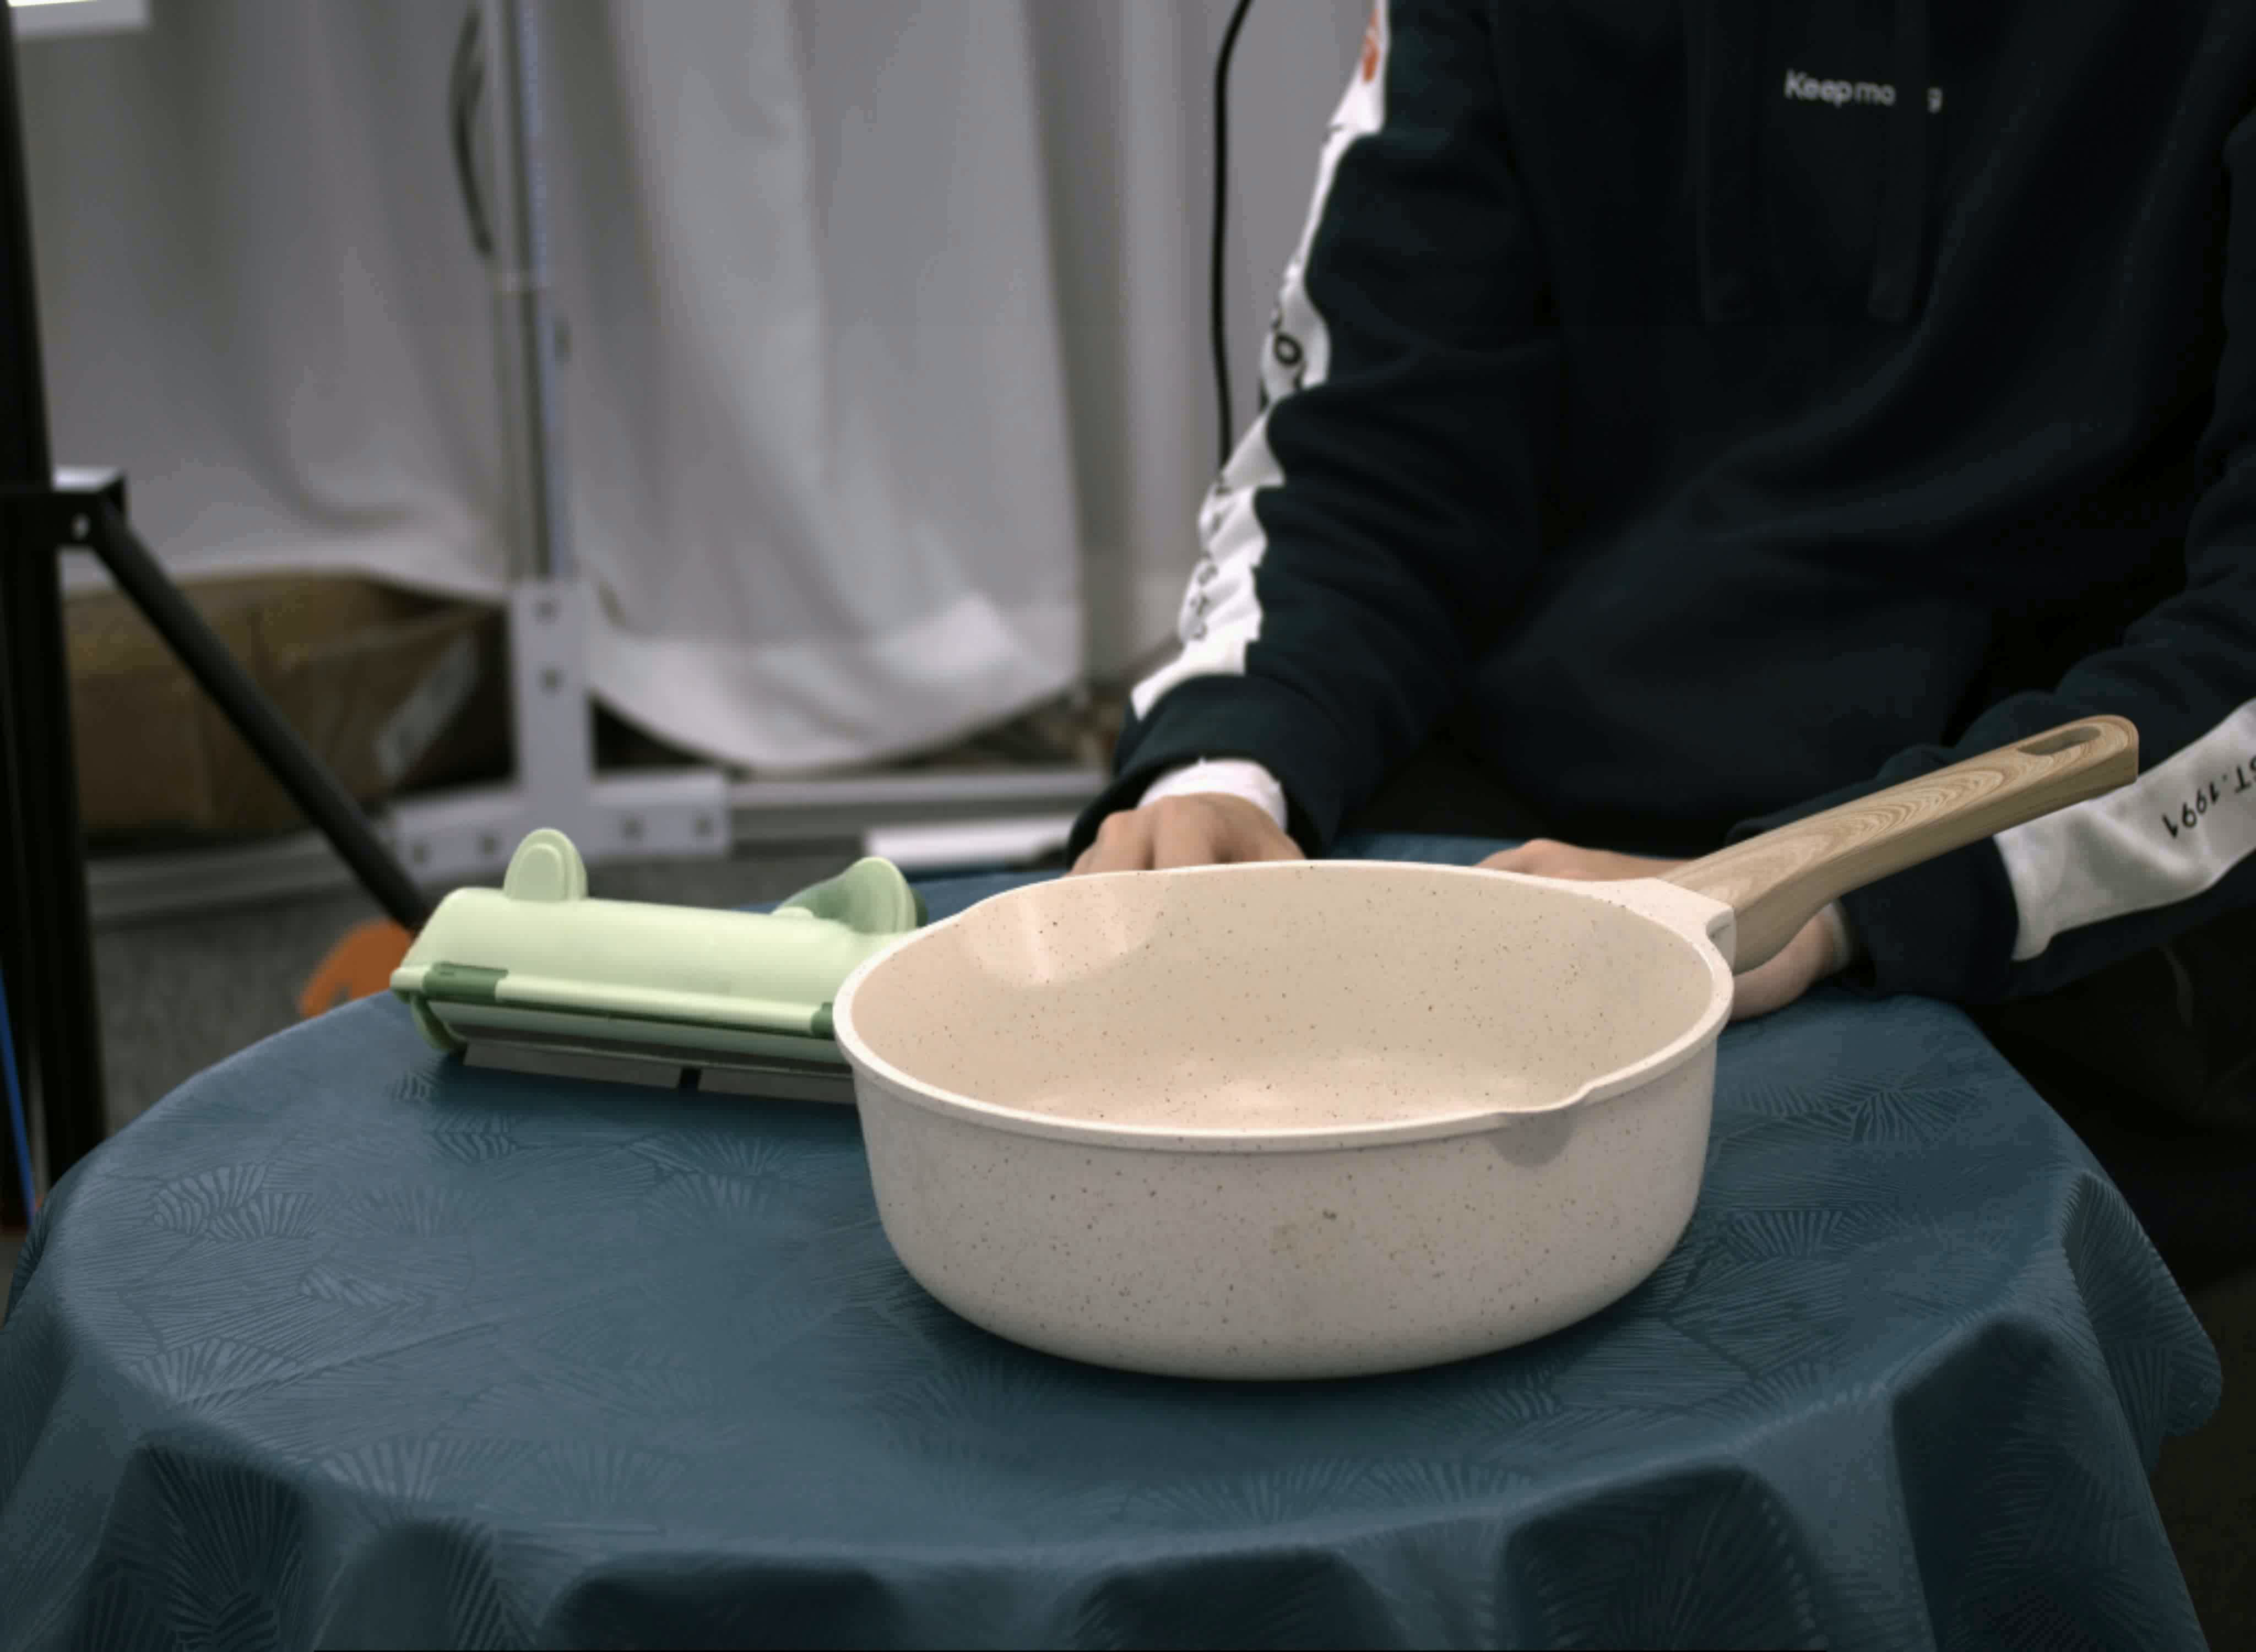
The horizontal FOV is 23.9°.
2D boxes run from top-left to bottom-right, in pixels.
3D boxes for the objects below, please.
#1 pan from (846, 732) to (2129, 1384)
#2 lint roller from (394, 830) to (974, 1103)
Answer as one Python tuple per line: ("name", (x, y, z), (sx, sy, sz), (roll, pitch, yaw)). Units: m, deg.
("pan", (0.125, 0.061, 1.521), (0.425, 0.102, 0.269), (-12, 17, -29))
("lint roller", (-0.112, 0.027, 1.723), (0.201, 0.082, 0.181), (4, 23, 24))
